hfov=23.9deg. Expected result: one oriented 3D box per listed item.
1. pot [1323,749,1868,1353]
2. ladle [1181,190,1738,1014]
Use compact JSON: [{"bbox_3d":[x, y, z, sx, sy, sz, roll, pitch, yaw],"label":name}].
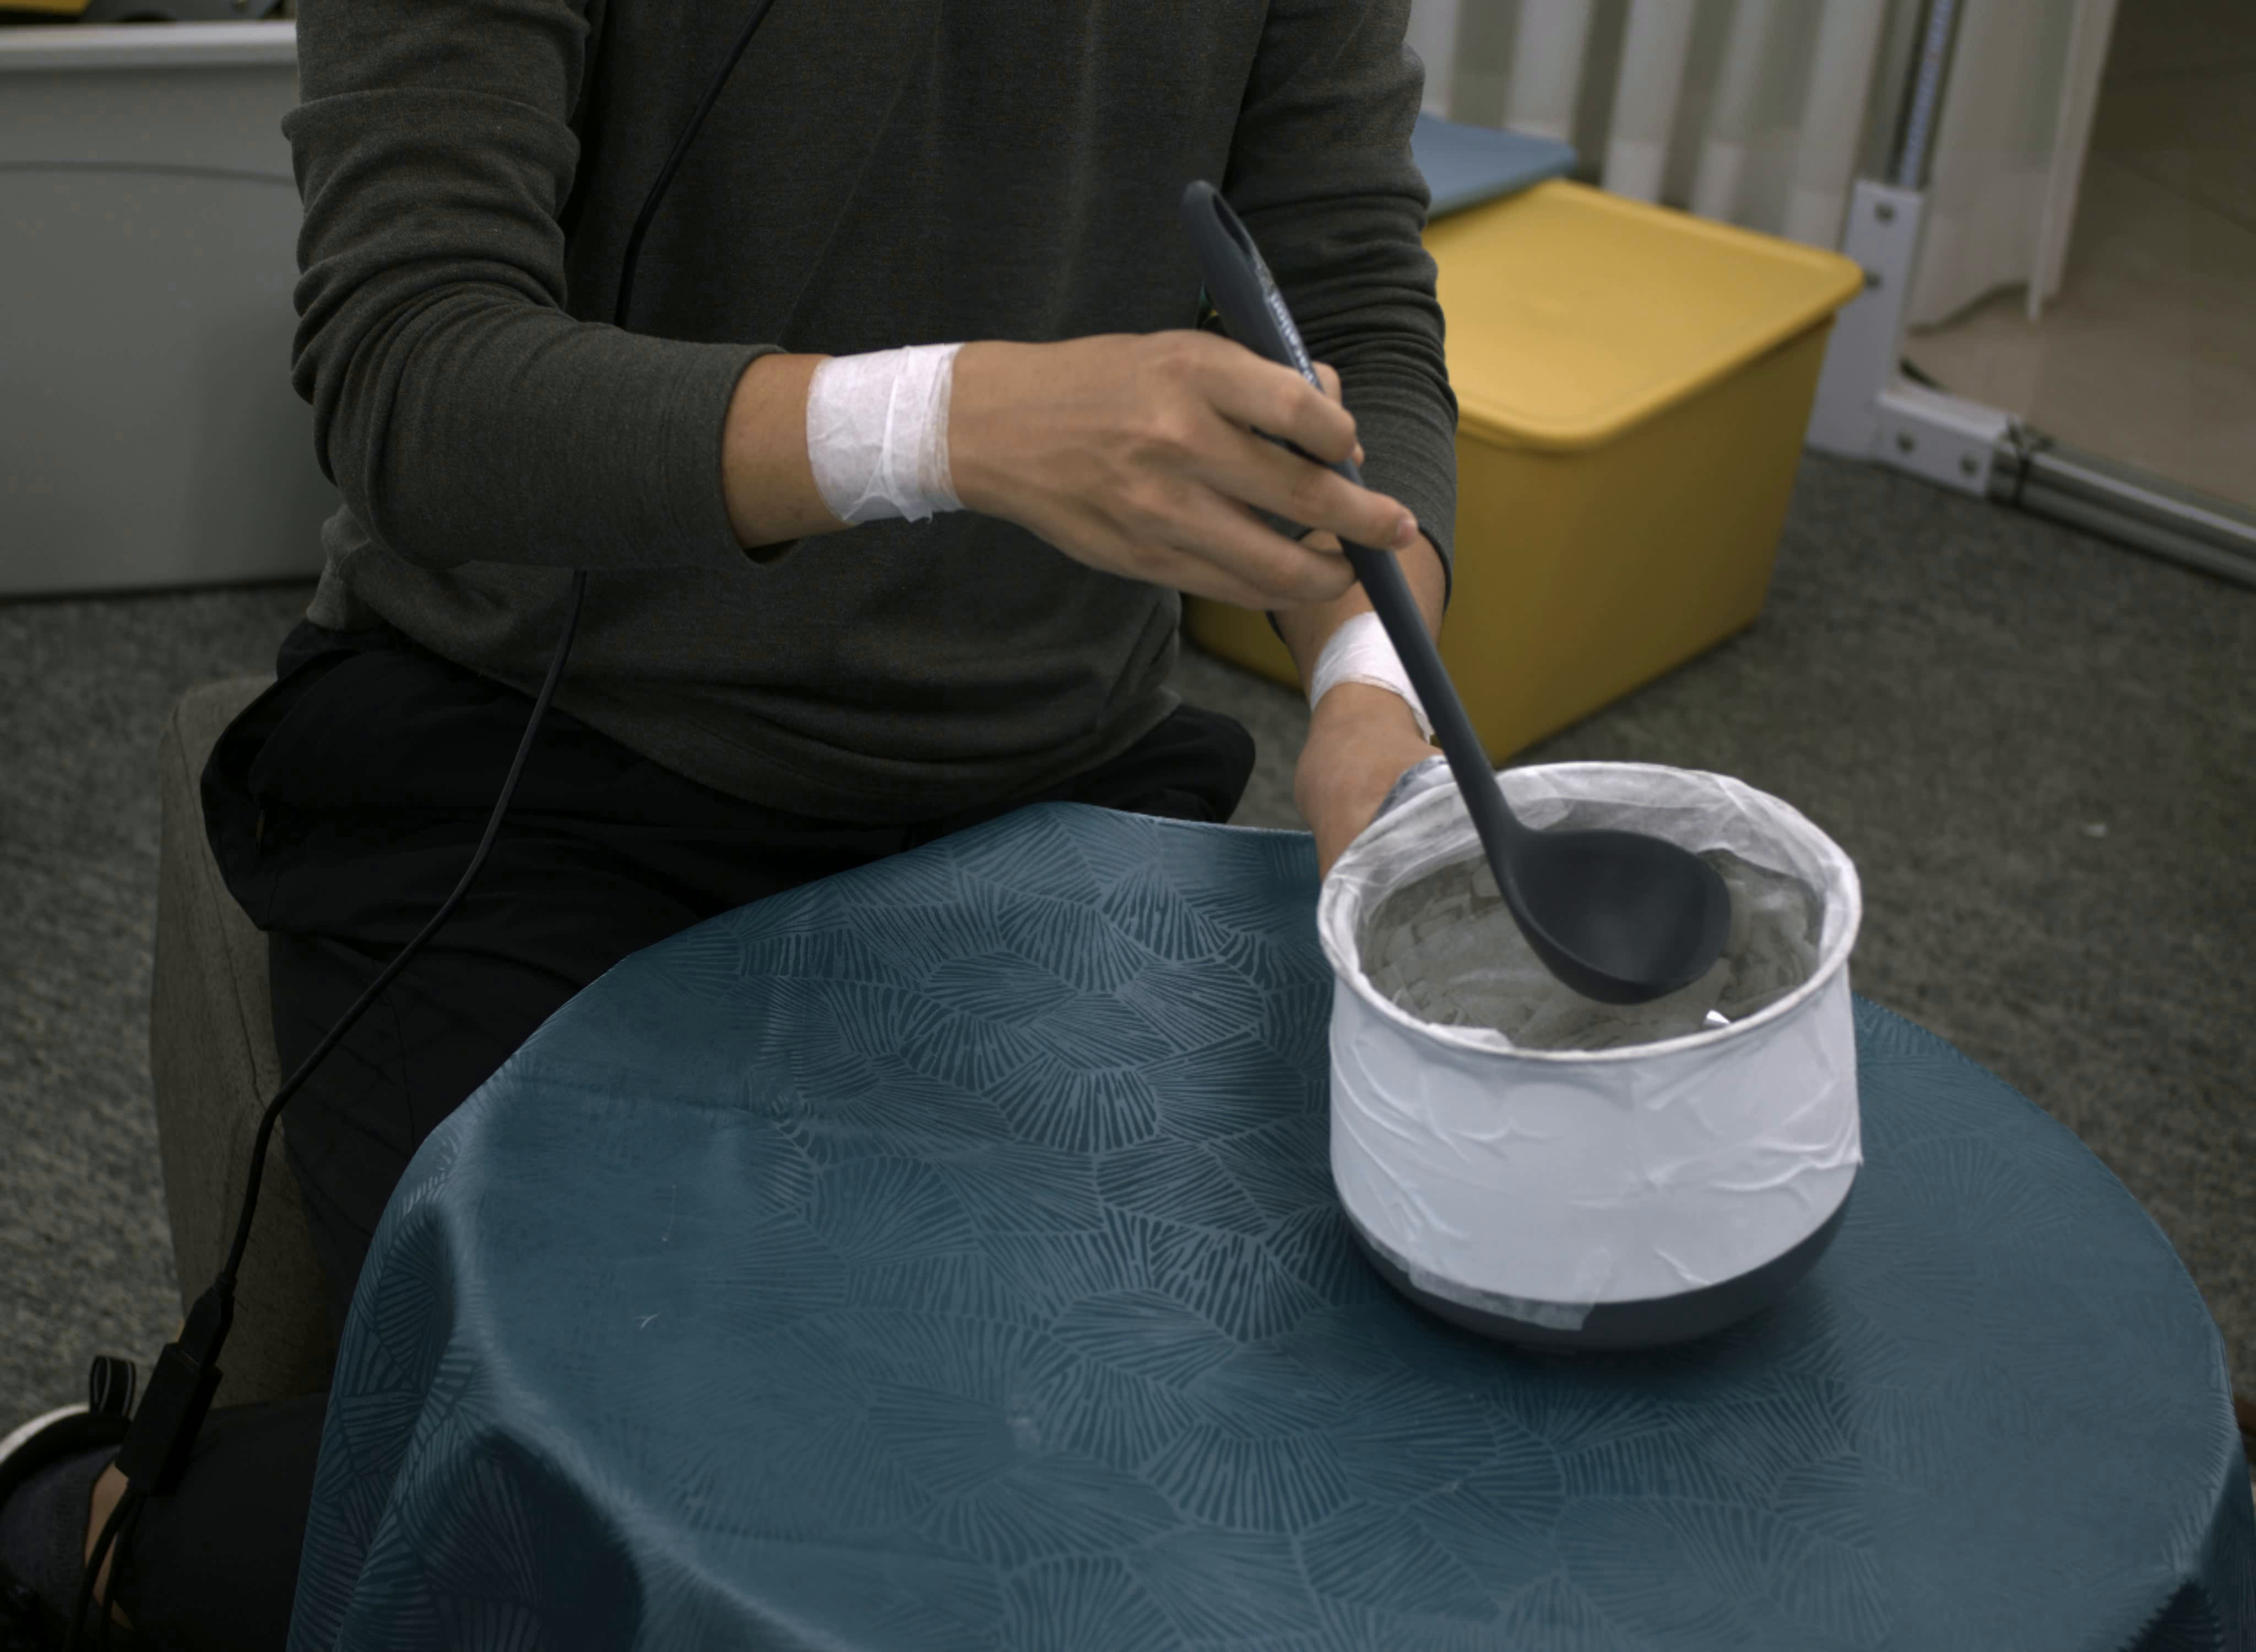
[{"bbox_3d":[0.140,0.066,1.779,0.178,0.136,0.236,-18,34,-22],"label":"pot"},{"bbox_3d":[0.108,-0.075,1.719,0.064,0.312,0.086,-18,22,23],"label":"ladle"}]
